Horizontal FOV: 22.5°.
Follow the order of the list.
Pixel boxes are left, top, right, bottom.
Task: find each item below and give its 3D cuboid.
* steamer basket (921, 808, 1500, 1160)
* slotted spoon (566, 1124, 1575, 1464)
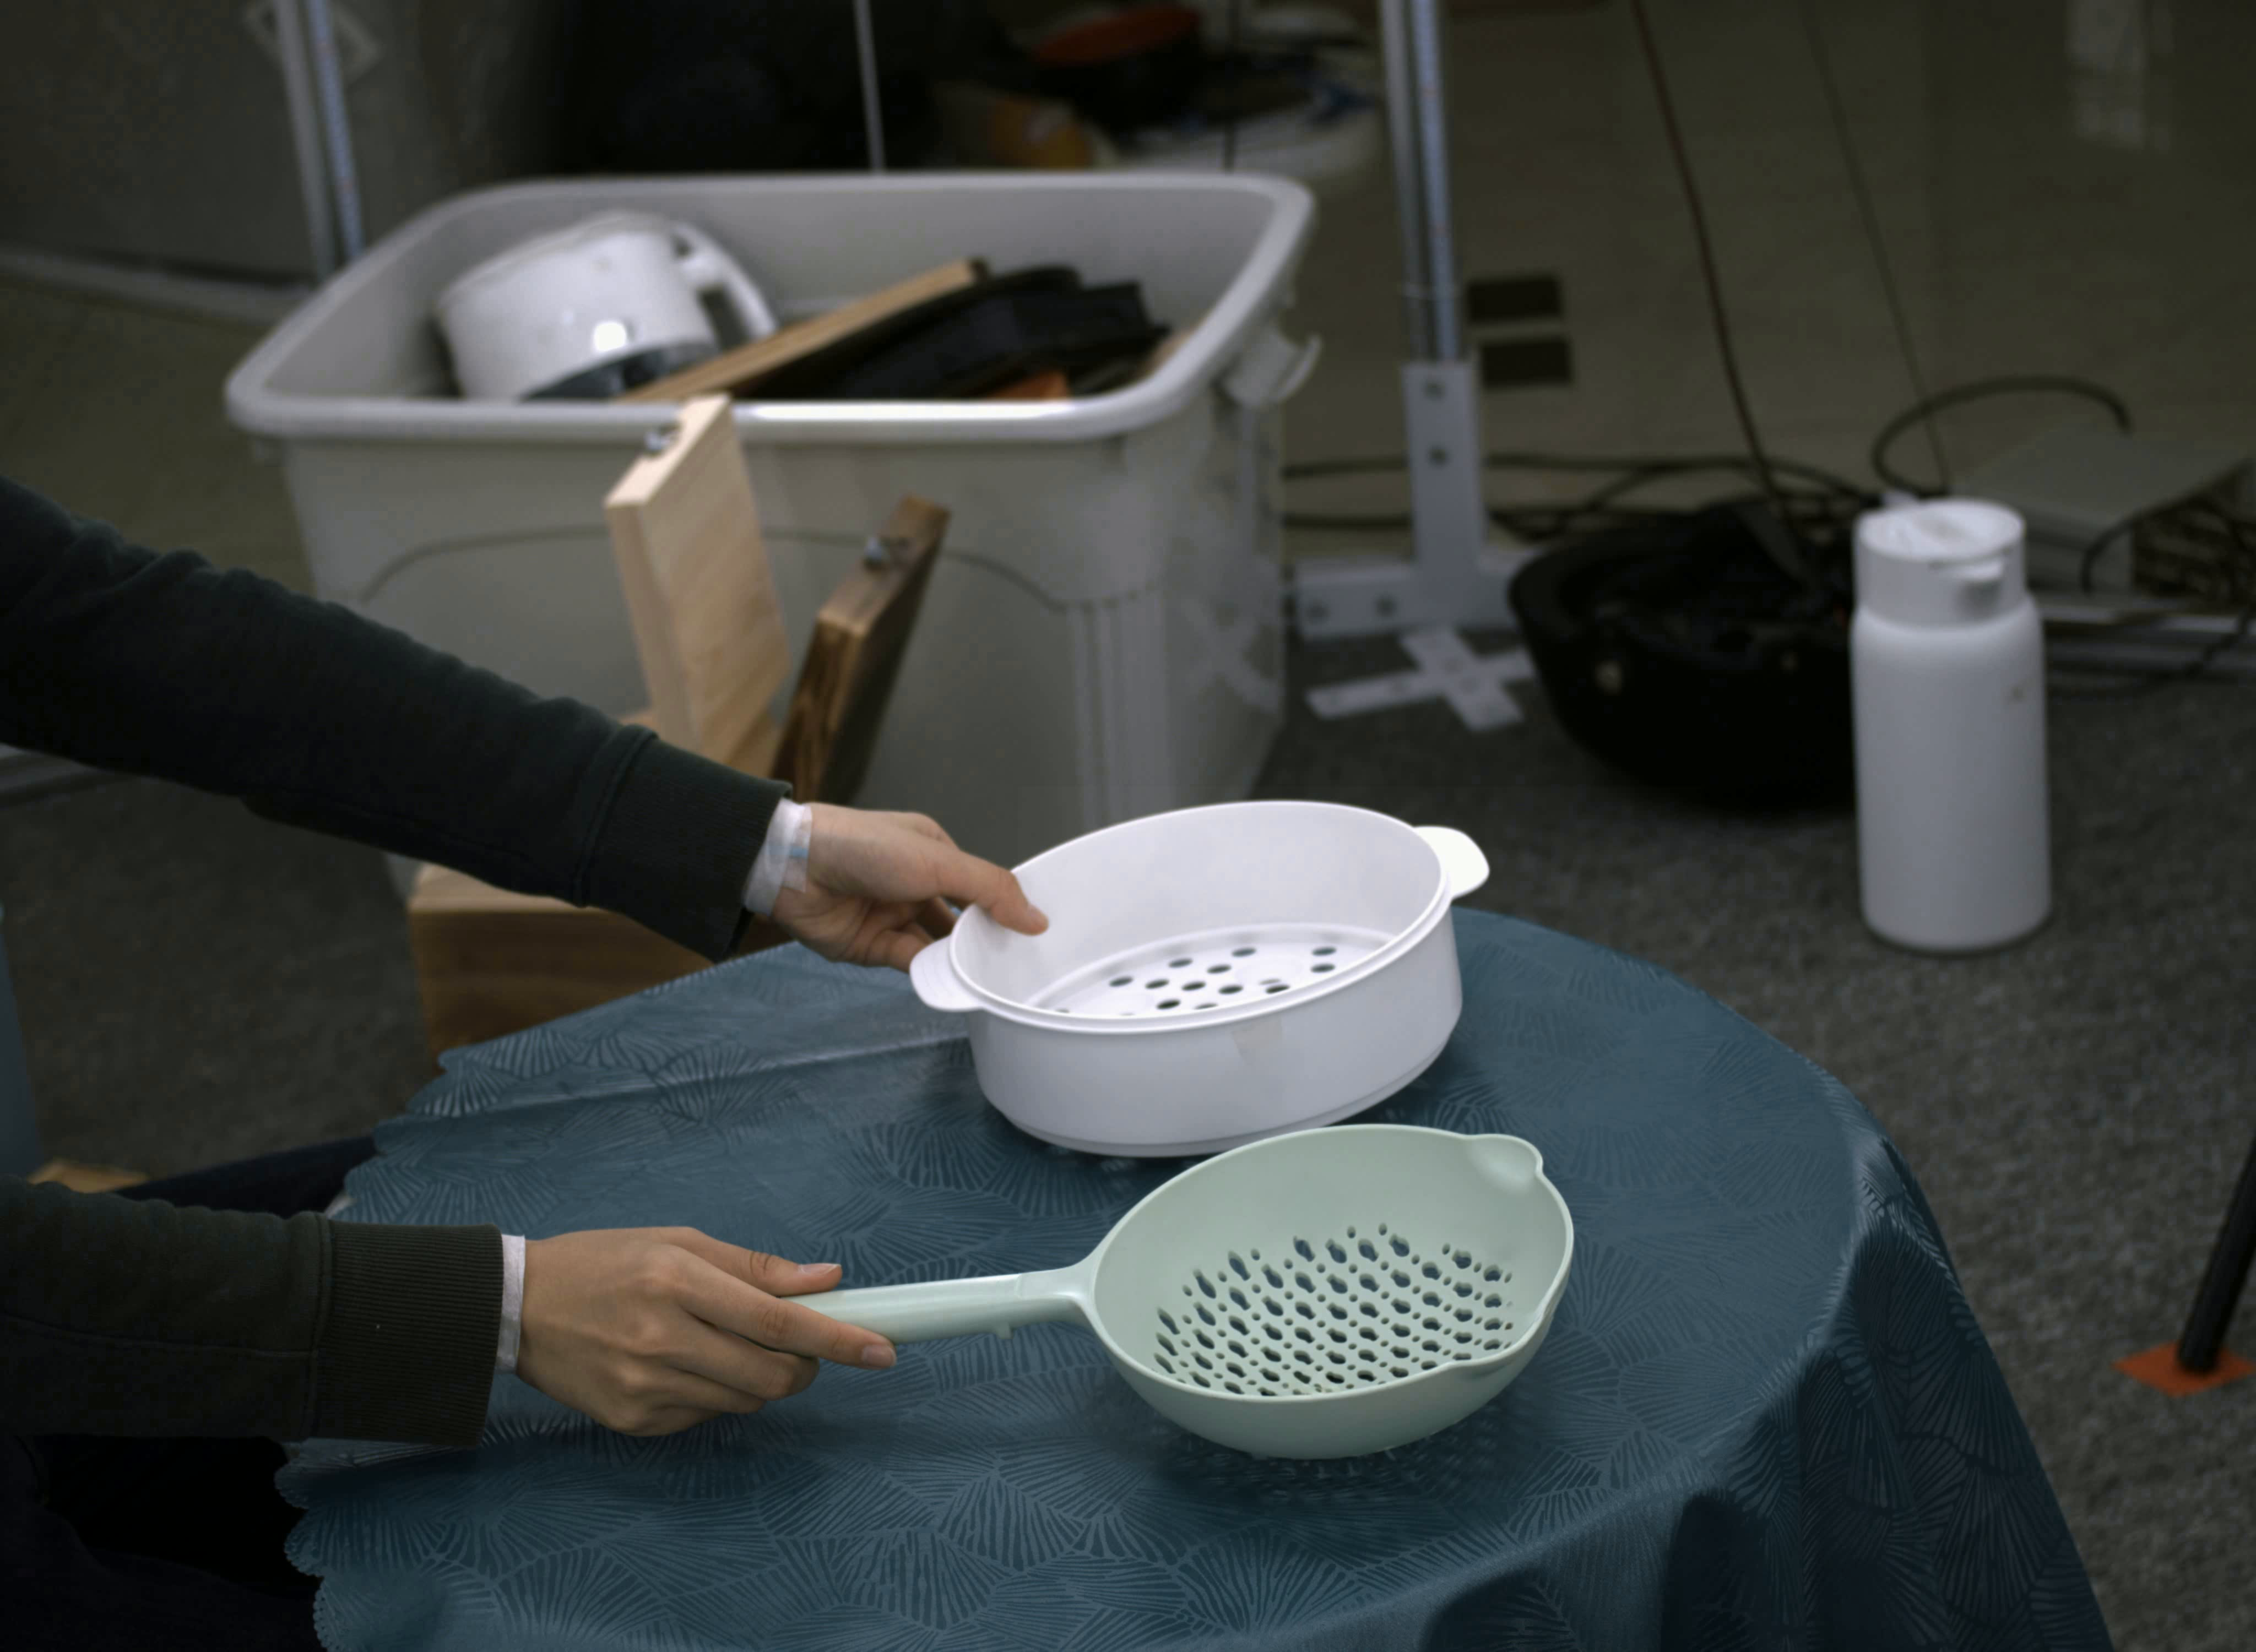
[{"bbox_3d":[0.037,0.063,2.221,0.230,0.070,0.199,-14,22,-7],"label":"steamer basket"},{"bbox_3d":[-0.024,0.170,1.994,0.358,0.077,0.166,2,30,5],"label":"slotted spoon"}]
